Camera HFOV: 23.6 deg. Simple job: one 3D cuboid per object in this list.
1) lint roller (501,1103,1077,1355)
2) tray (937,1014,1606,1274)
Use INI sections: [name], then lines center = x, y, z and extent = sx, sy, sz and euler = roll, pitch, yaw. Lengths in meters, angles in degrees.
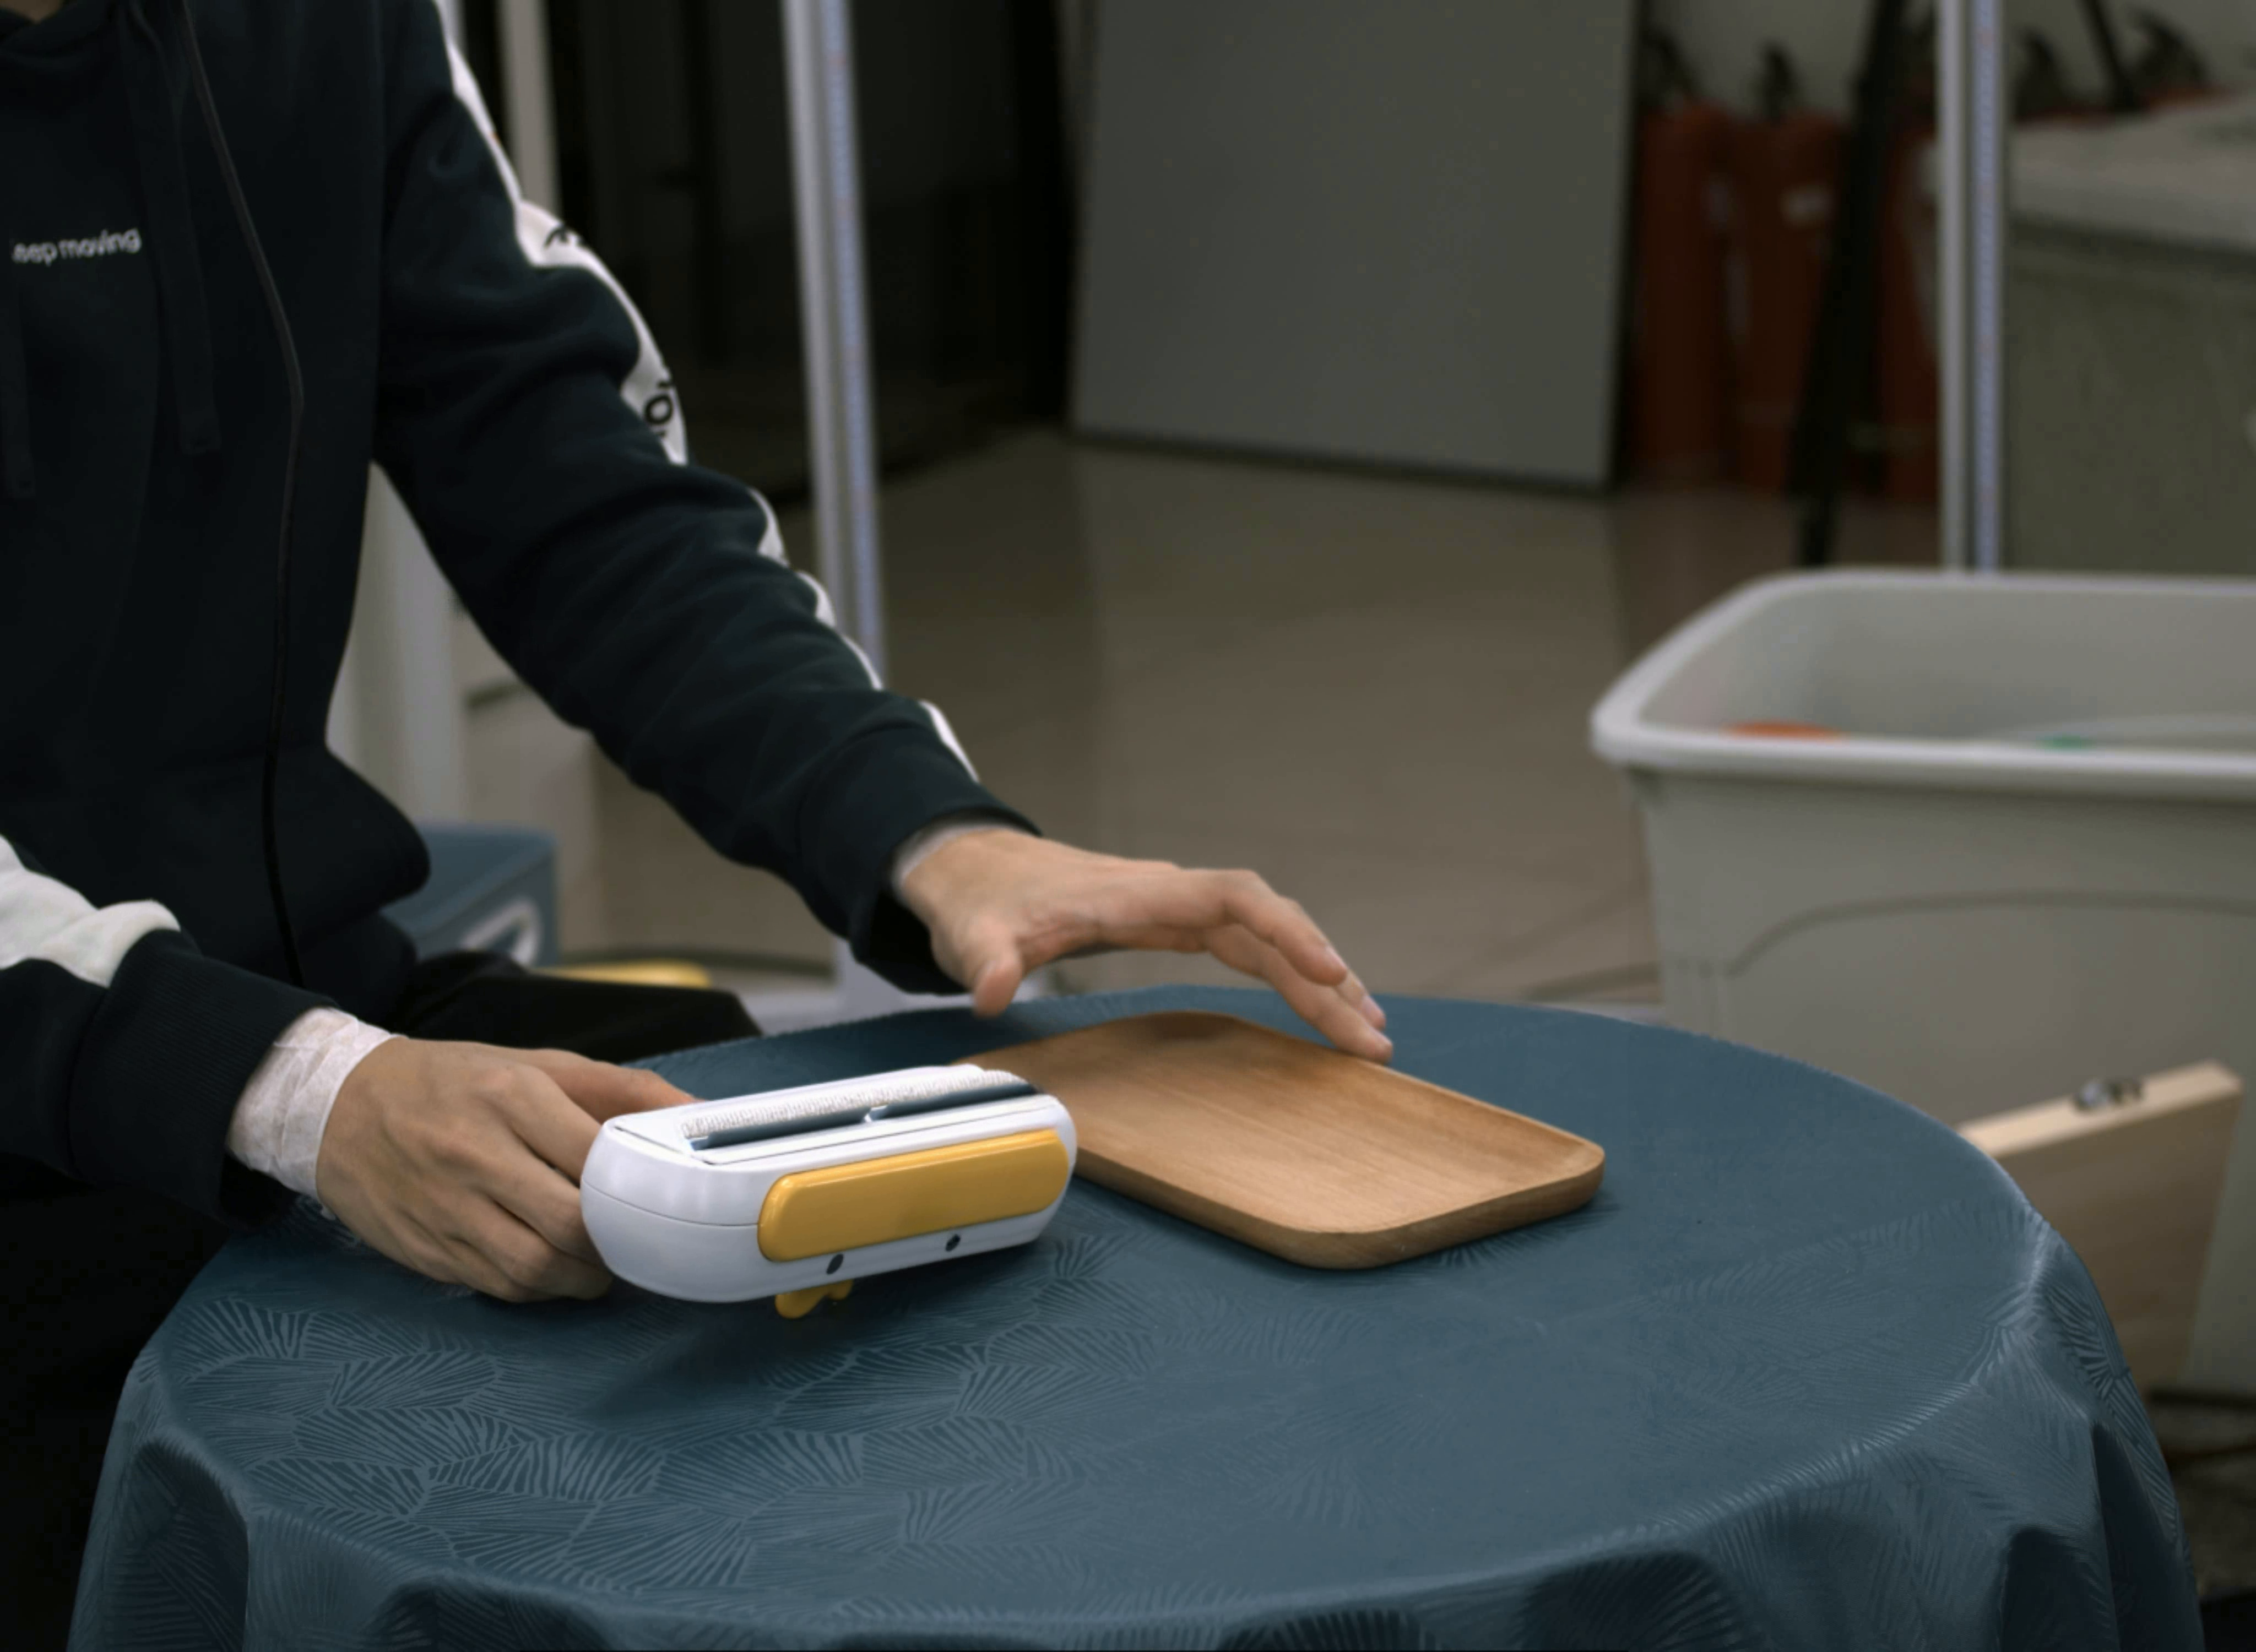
[lint roller]
center = -0.134, 0.131, 1.707
extent = 0.189, 0.075, 0.194
euler = -9, -1, -45
[tray]
center = 0.044, 0.104, 1.797
extent = 0.127, 0.023, 0.253
euler = -10, 14, -31
